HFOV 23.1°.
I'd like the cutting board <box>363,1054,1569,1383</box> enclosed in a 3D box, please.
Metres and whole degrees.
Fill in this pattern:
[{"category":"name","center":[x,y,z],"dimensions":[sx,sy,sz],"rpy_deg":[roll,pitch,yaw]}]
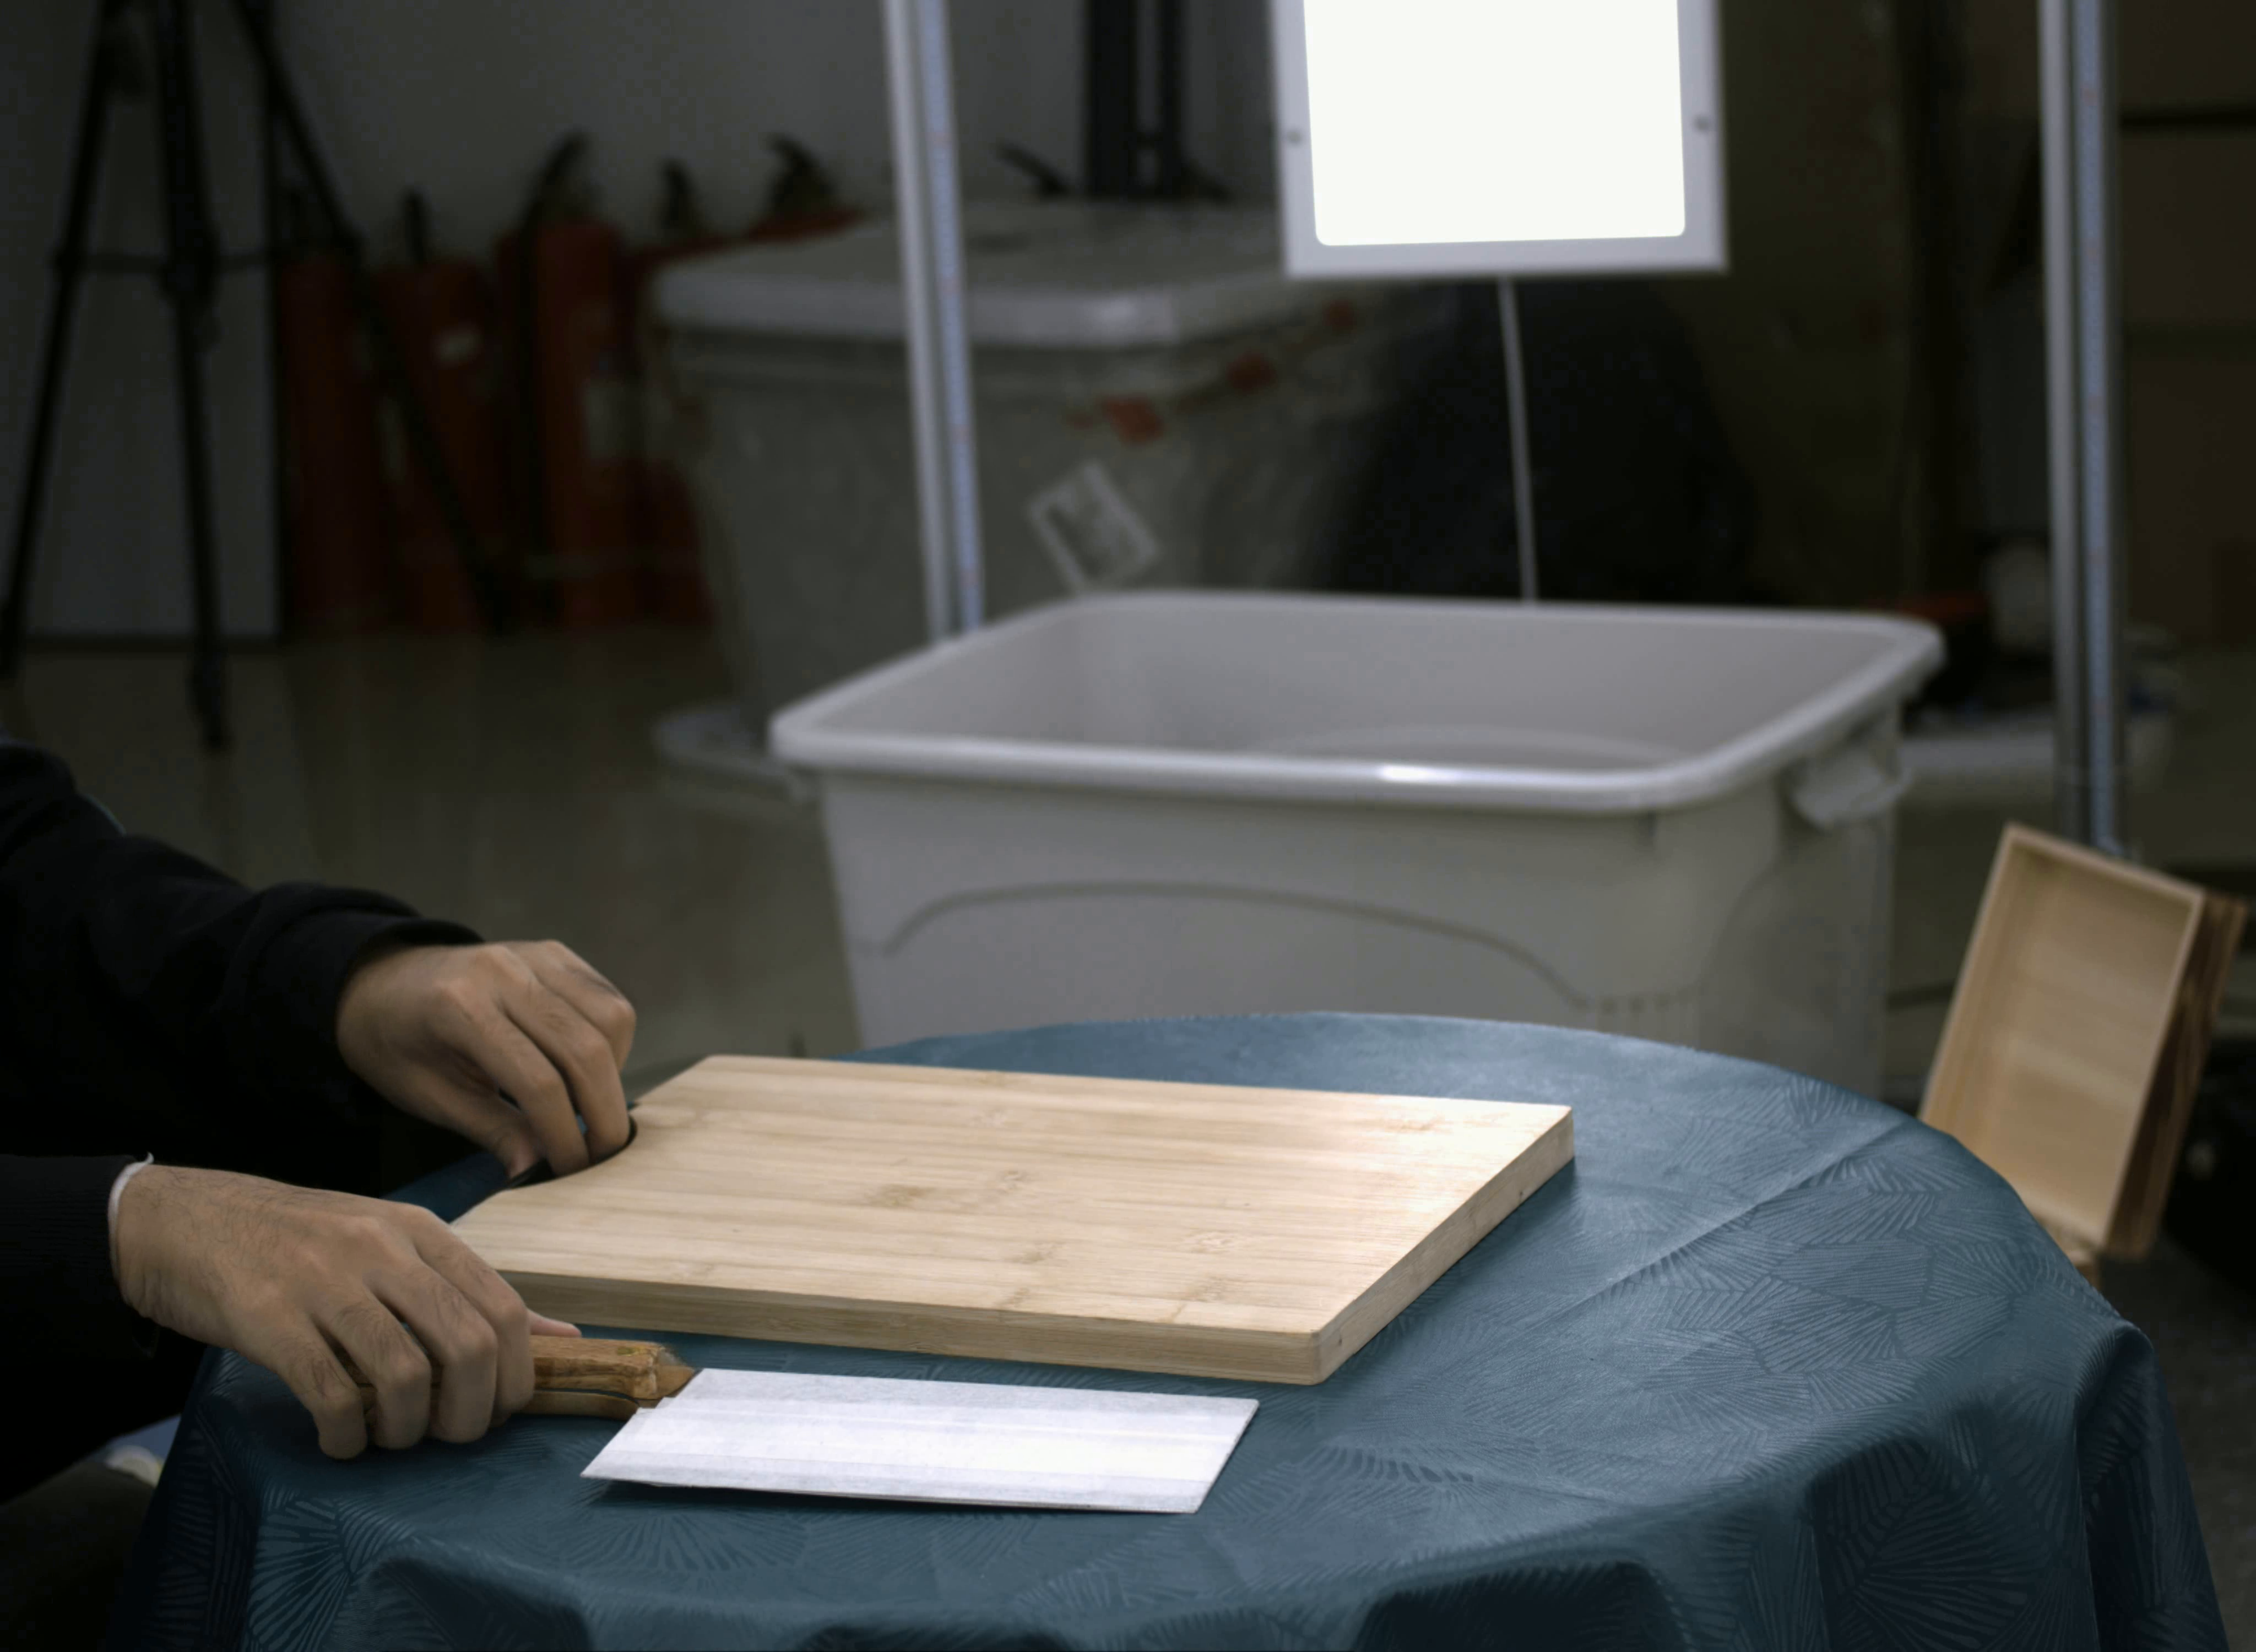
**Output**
[{"category":"cutting board","center":[-0.052,0.129,1.871],"dimensions":[0.354,0.023,0.245],"rpy_deg":[2,15,25]}]

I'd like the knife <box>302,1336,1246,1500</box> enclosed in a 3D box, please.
[{"category":"knife","center":[-0.116,0.183,1.680],"dimensions":[0.309,0.021,0.091],"rpy_deg":[1,17,16]}]
